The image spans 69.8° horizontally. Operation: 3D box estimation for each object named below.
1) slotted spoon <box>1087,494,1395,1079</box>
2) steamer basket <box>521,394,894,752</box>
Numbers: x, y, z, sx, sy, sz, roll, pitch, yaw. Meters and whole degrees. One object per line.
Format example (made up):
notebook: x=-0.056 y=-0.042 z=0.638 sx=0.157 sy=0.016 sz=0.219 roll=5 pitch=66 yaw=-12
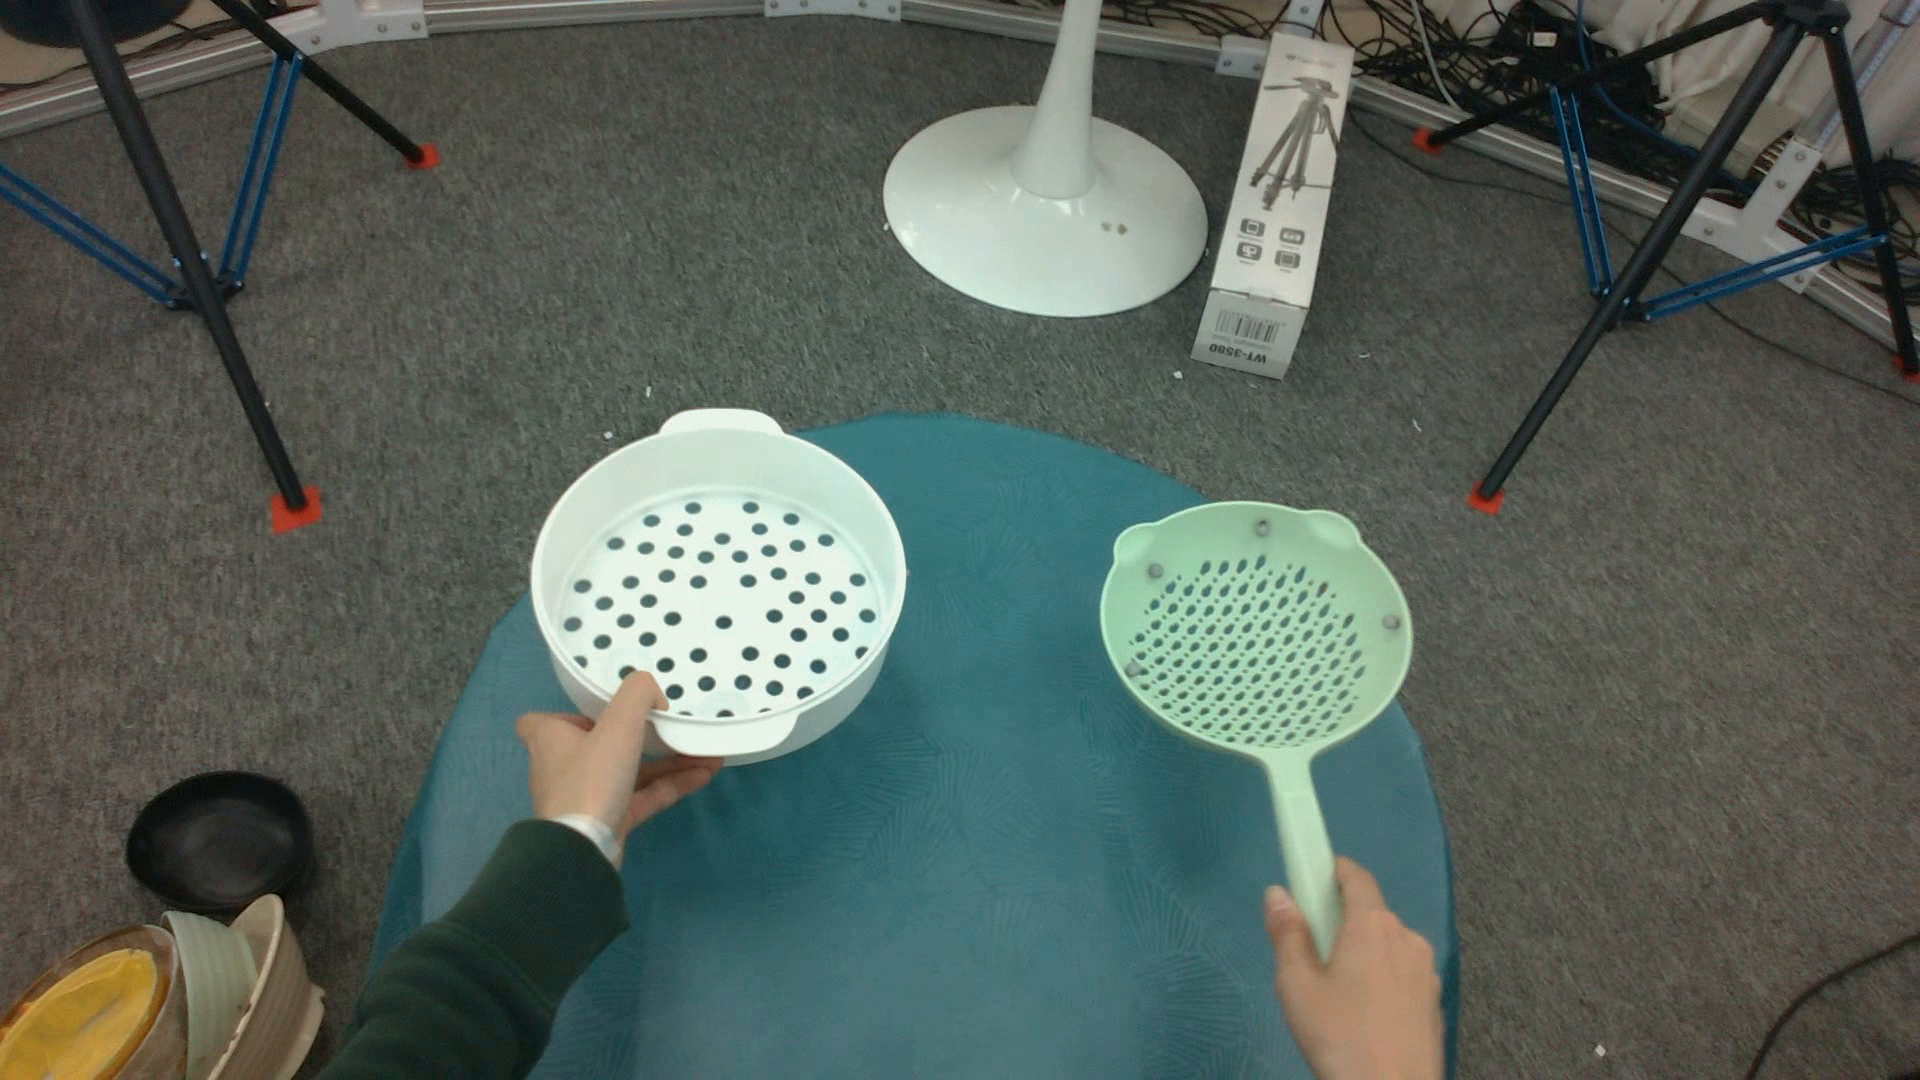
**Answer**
slotted spoon: x=0.160 y=0.122 z=0.714 sx=0.169 sy=0.075 sz=0.360 roll=-4 pitch=43 yaw=2
steamer basket: x=-0.140 y=0.023 z=0.780 sx=0.202 sy=0.069 sz=0.231 roll=-3 pitch=55 yaw=-11
